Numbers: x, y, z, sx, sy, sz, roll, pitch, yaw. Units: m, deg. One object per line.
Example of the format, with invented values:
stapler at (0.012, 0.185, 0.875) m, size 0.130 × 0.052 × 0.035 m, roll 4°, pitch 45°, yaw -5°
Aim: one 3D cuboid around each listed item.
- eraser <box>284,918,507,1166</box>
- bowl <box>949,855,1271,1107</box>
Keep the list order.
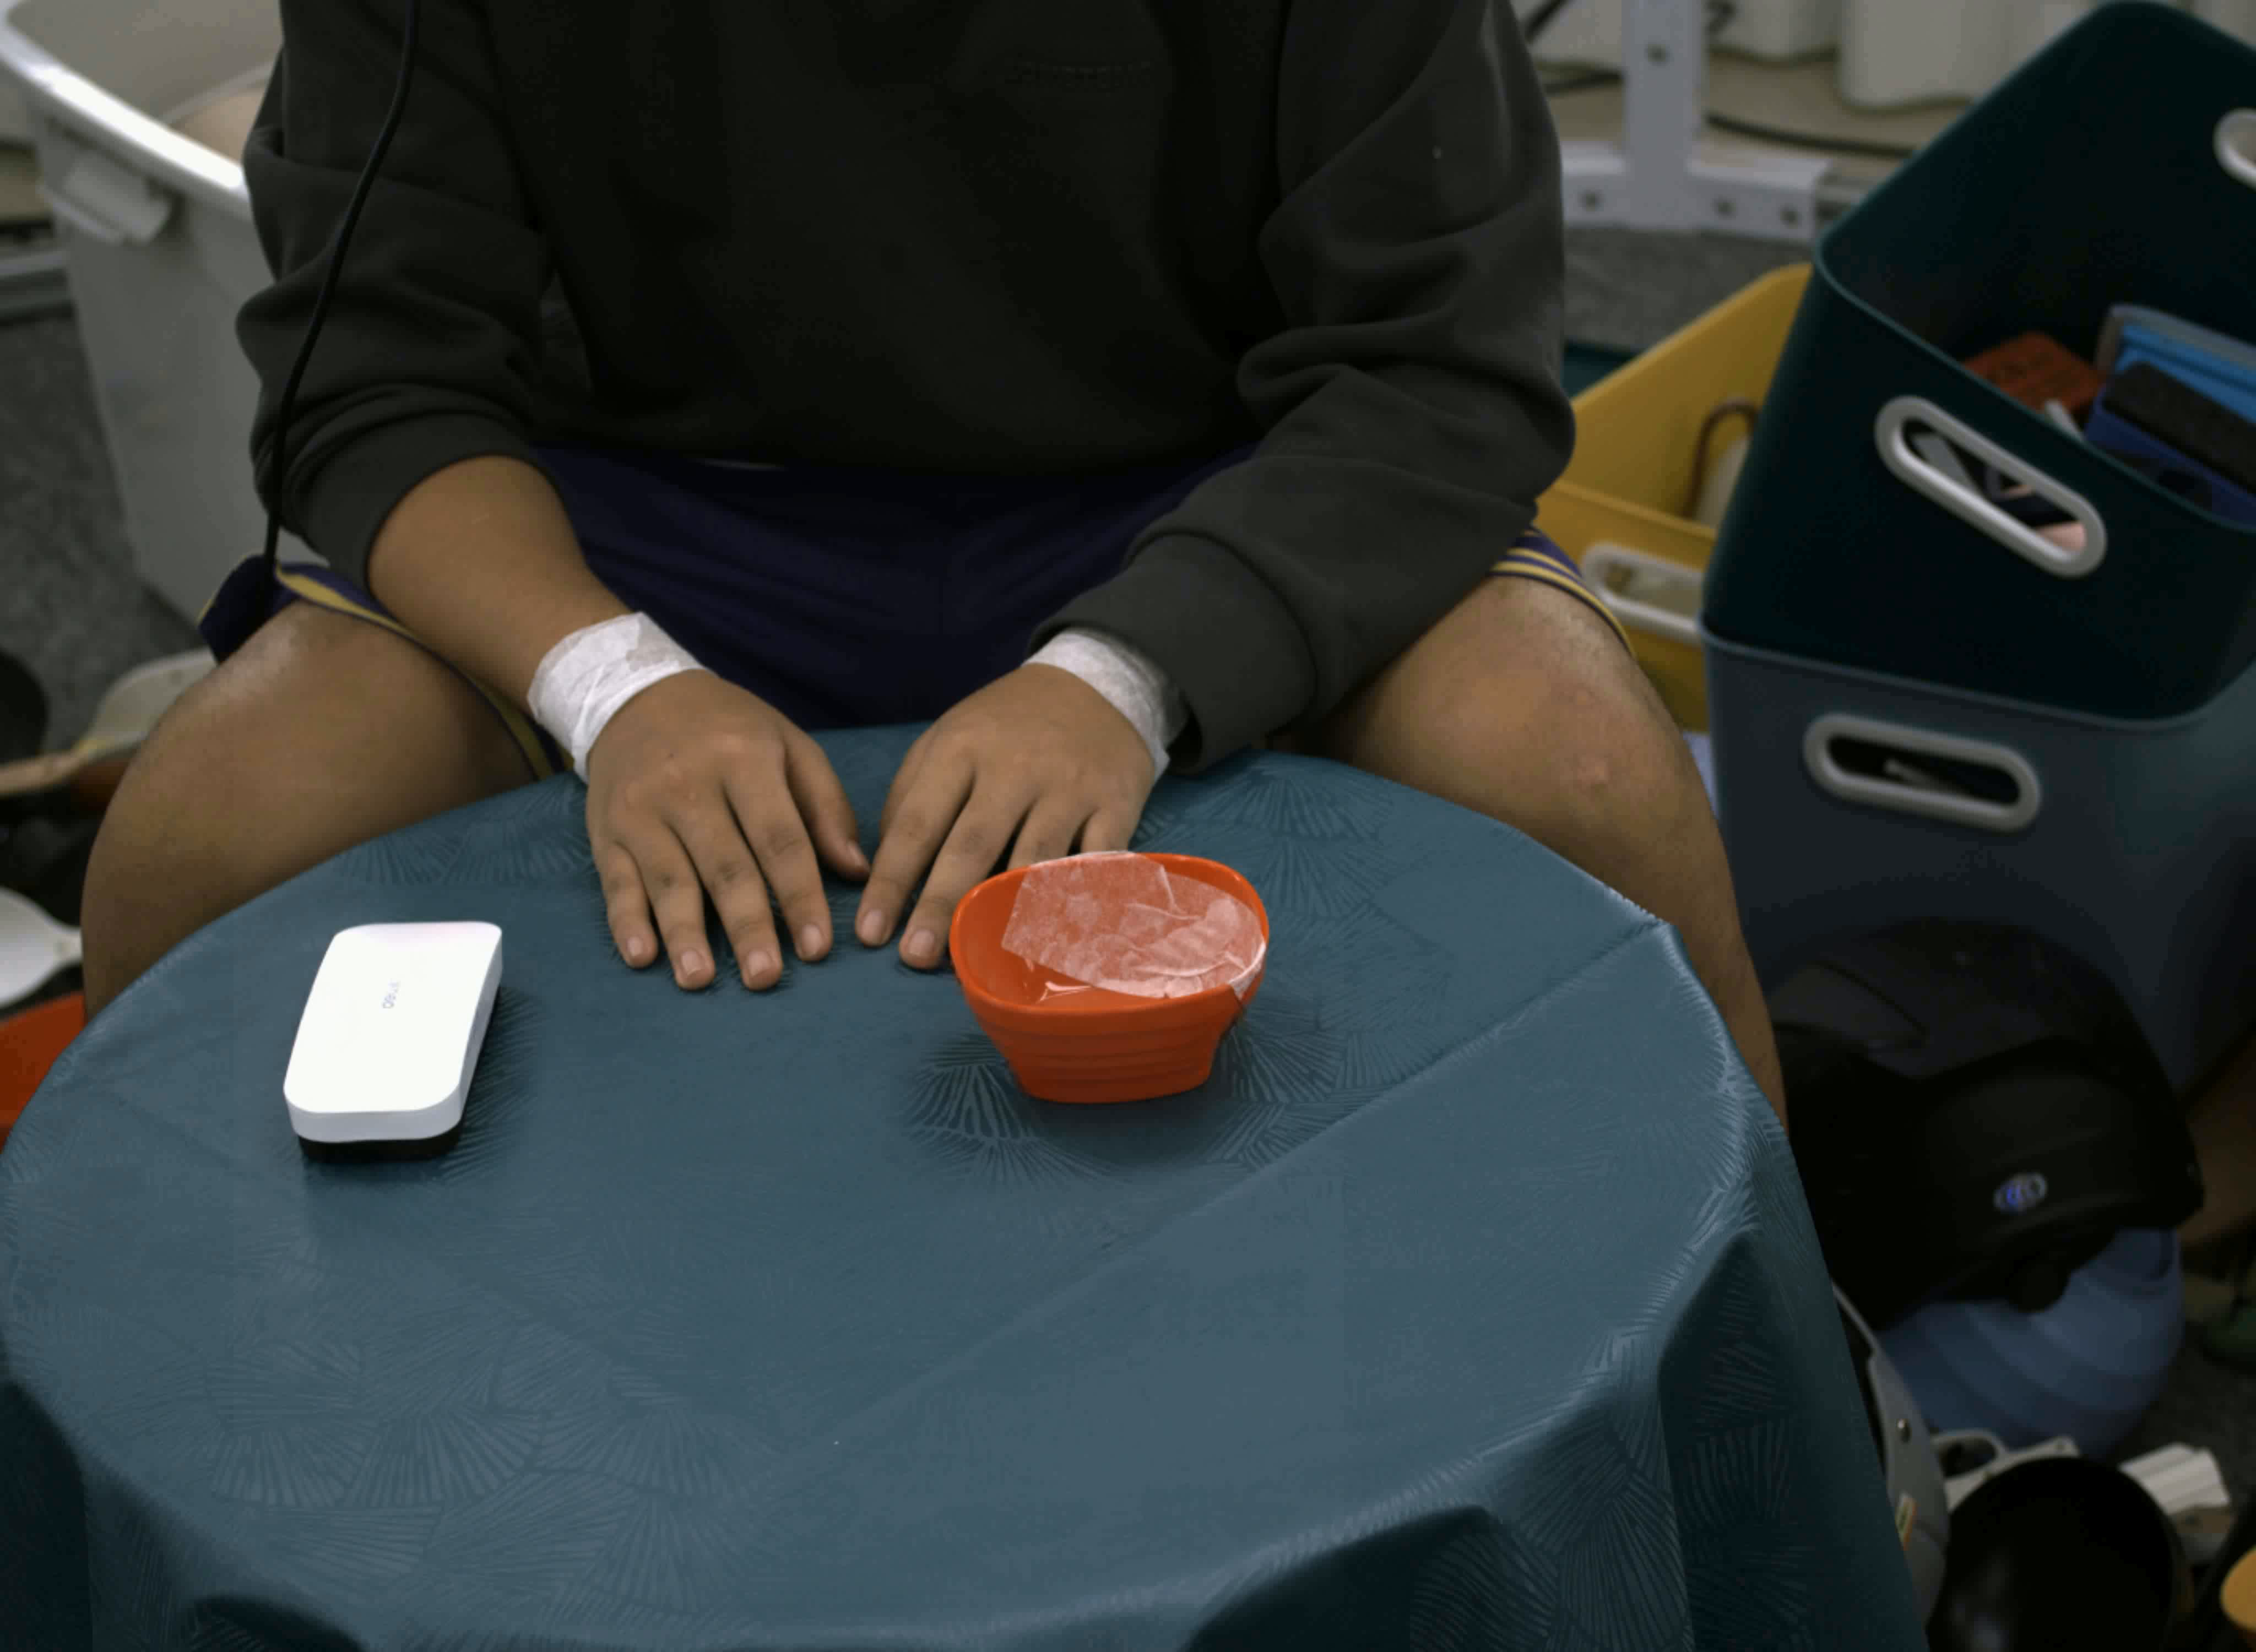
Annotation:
eraser at (-0.251, 0.072, 1.949) m, size 0.063 × 0.034 × 0.133 m, roll 0°, pitch 29°, yaw 4°
bowl at (-0.005, 0.057, 1.932) m, size 0.118 × 0.051 × 0.121 m, roll -3°, pitch 27°, yaw 2°
